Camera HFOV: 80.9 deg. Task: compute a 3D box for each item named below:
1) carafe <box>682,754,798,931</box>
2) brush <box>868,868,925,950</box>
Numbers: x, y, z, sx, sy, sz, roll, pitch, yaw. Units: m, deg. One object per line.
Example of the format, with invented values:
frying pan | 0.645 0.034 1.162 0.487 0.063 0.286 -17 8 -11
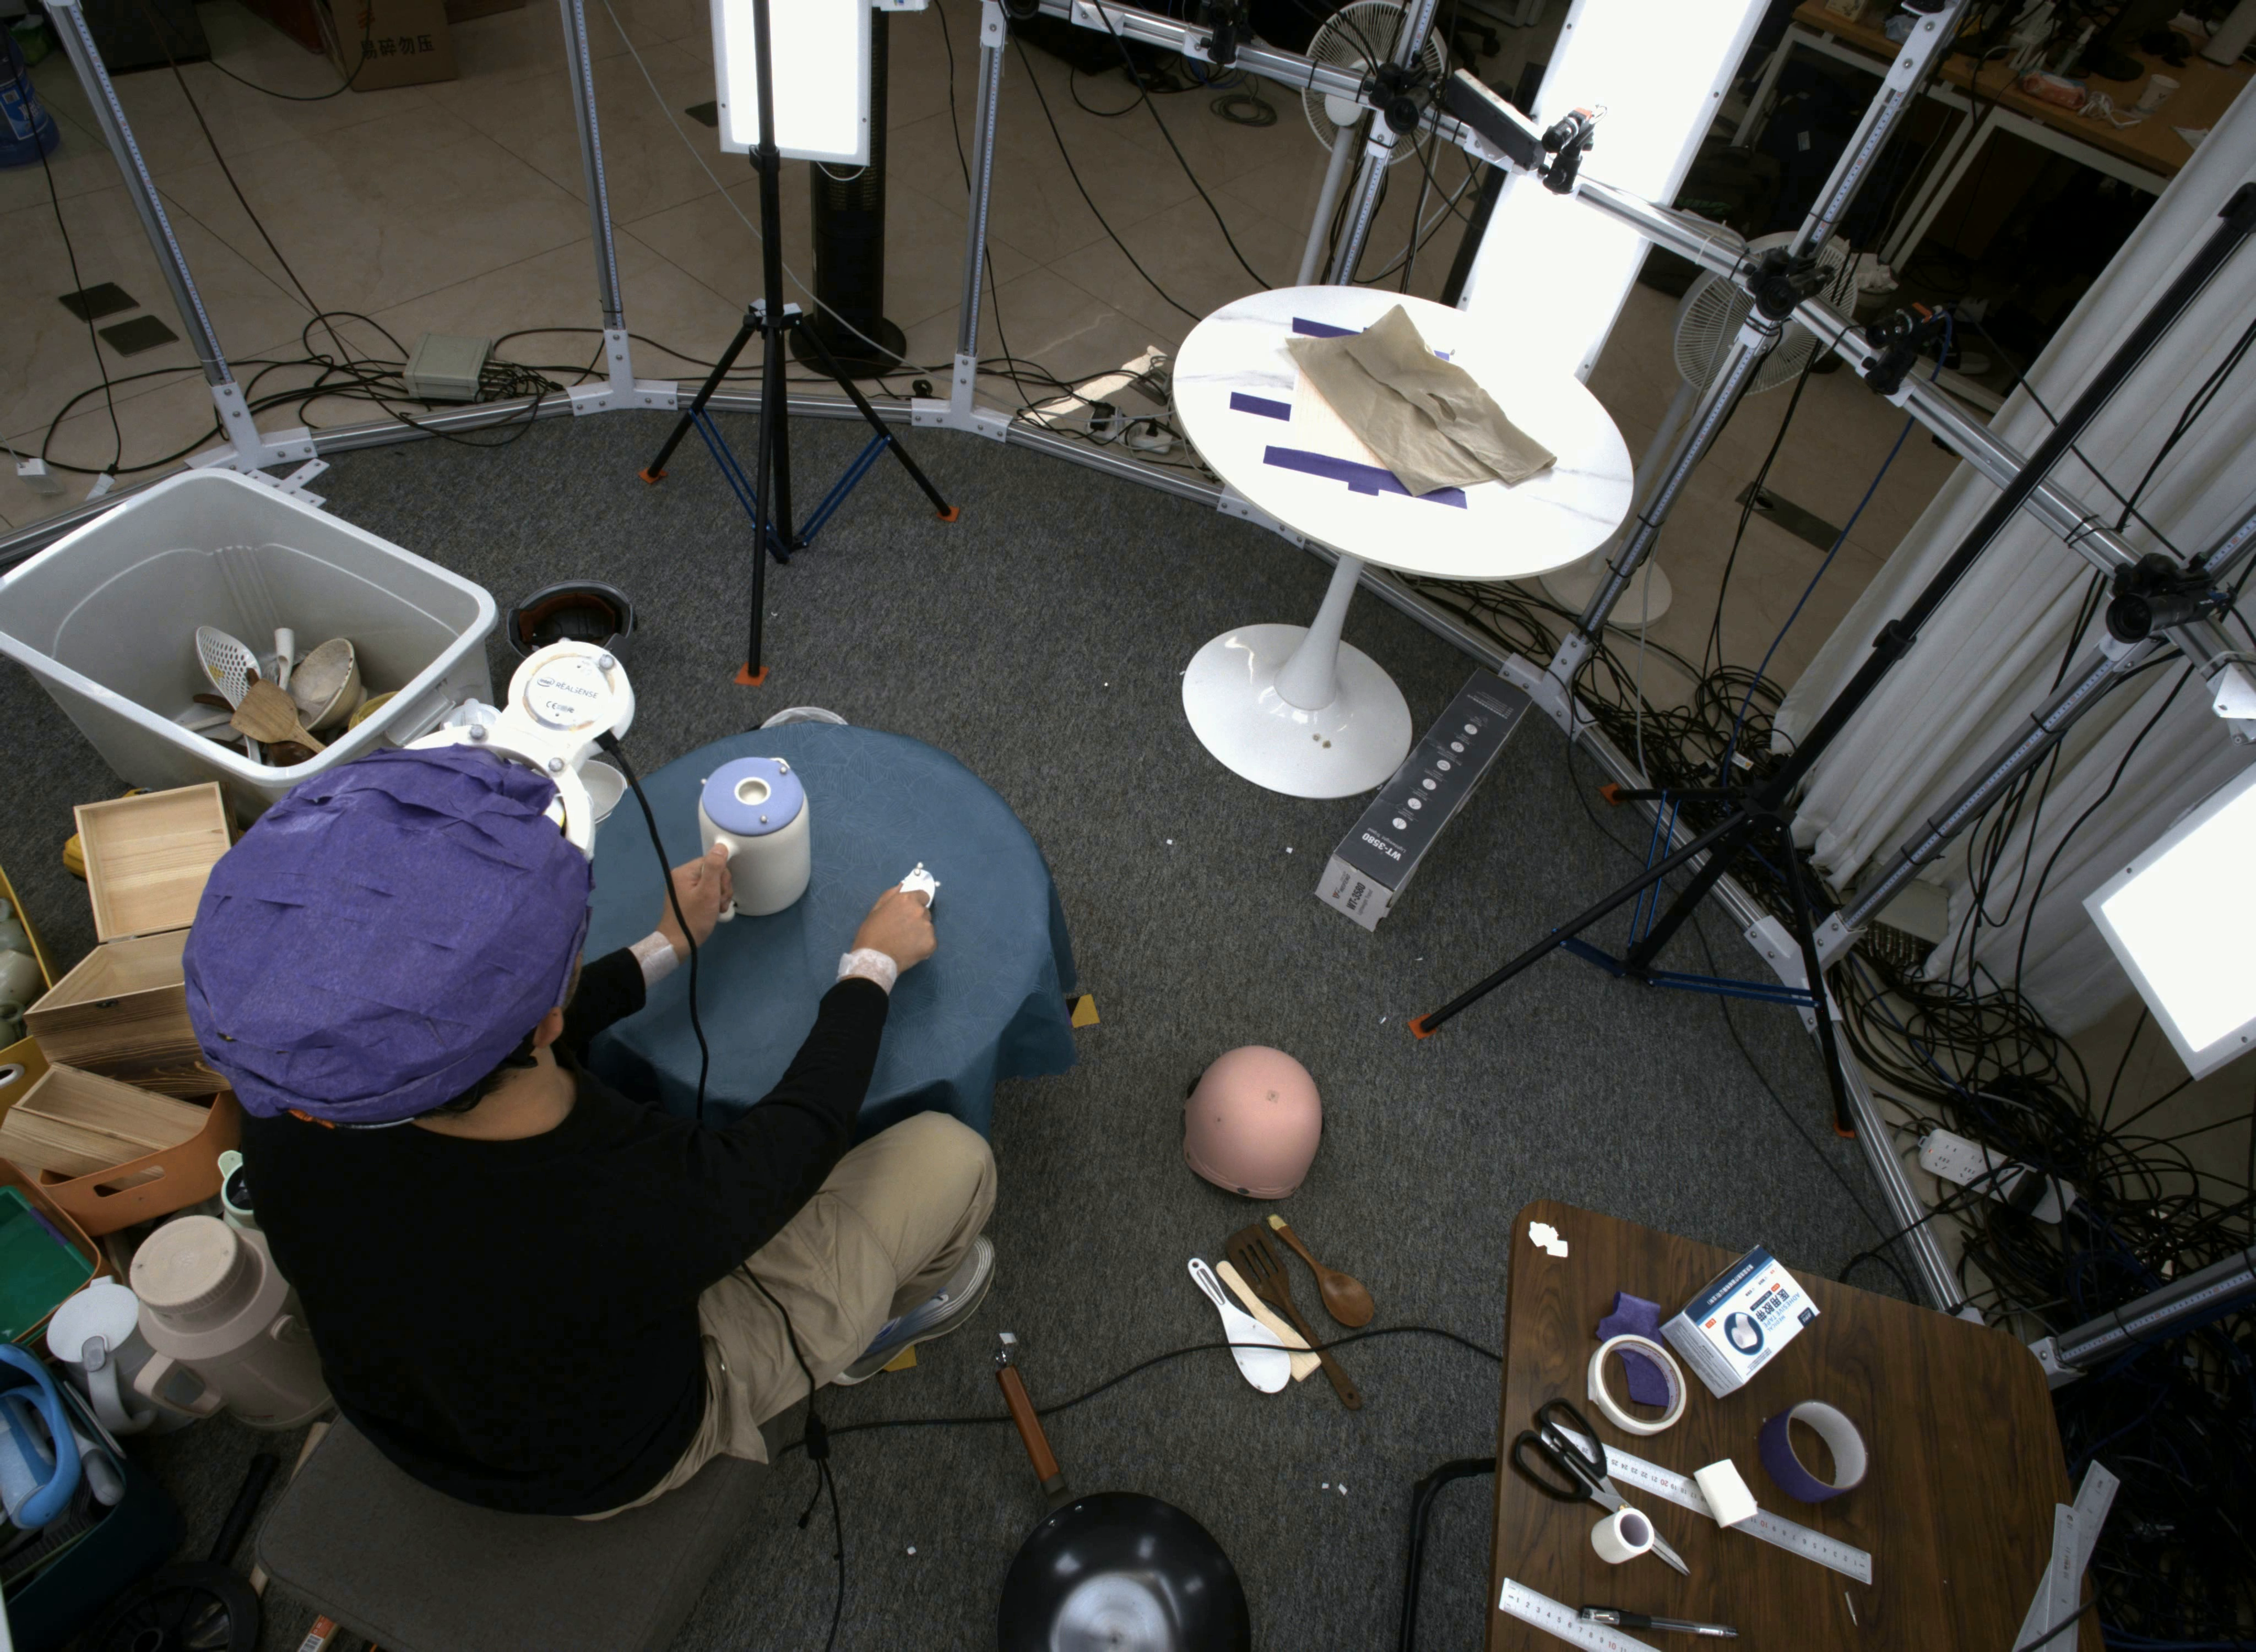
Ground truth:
carafe | -0.482 0.031 1.569 0.131 0.186 0.189 19 52 3
brush | -0.290 0.095 1.635 0.049 0.074 0.098 23 51 6
